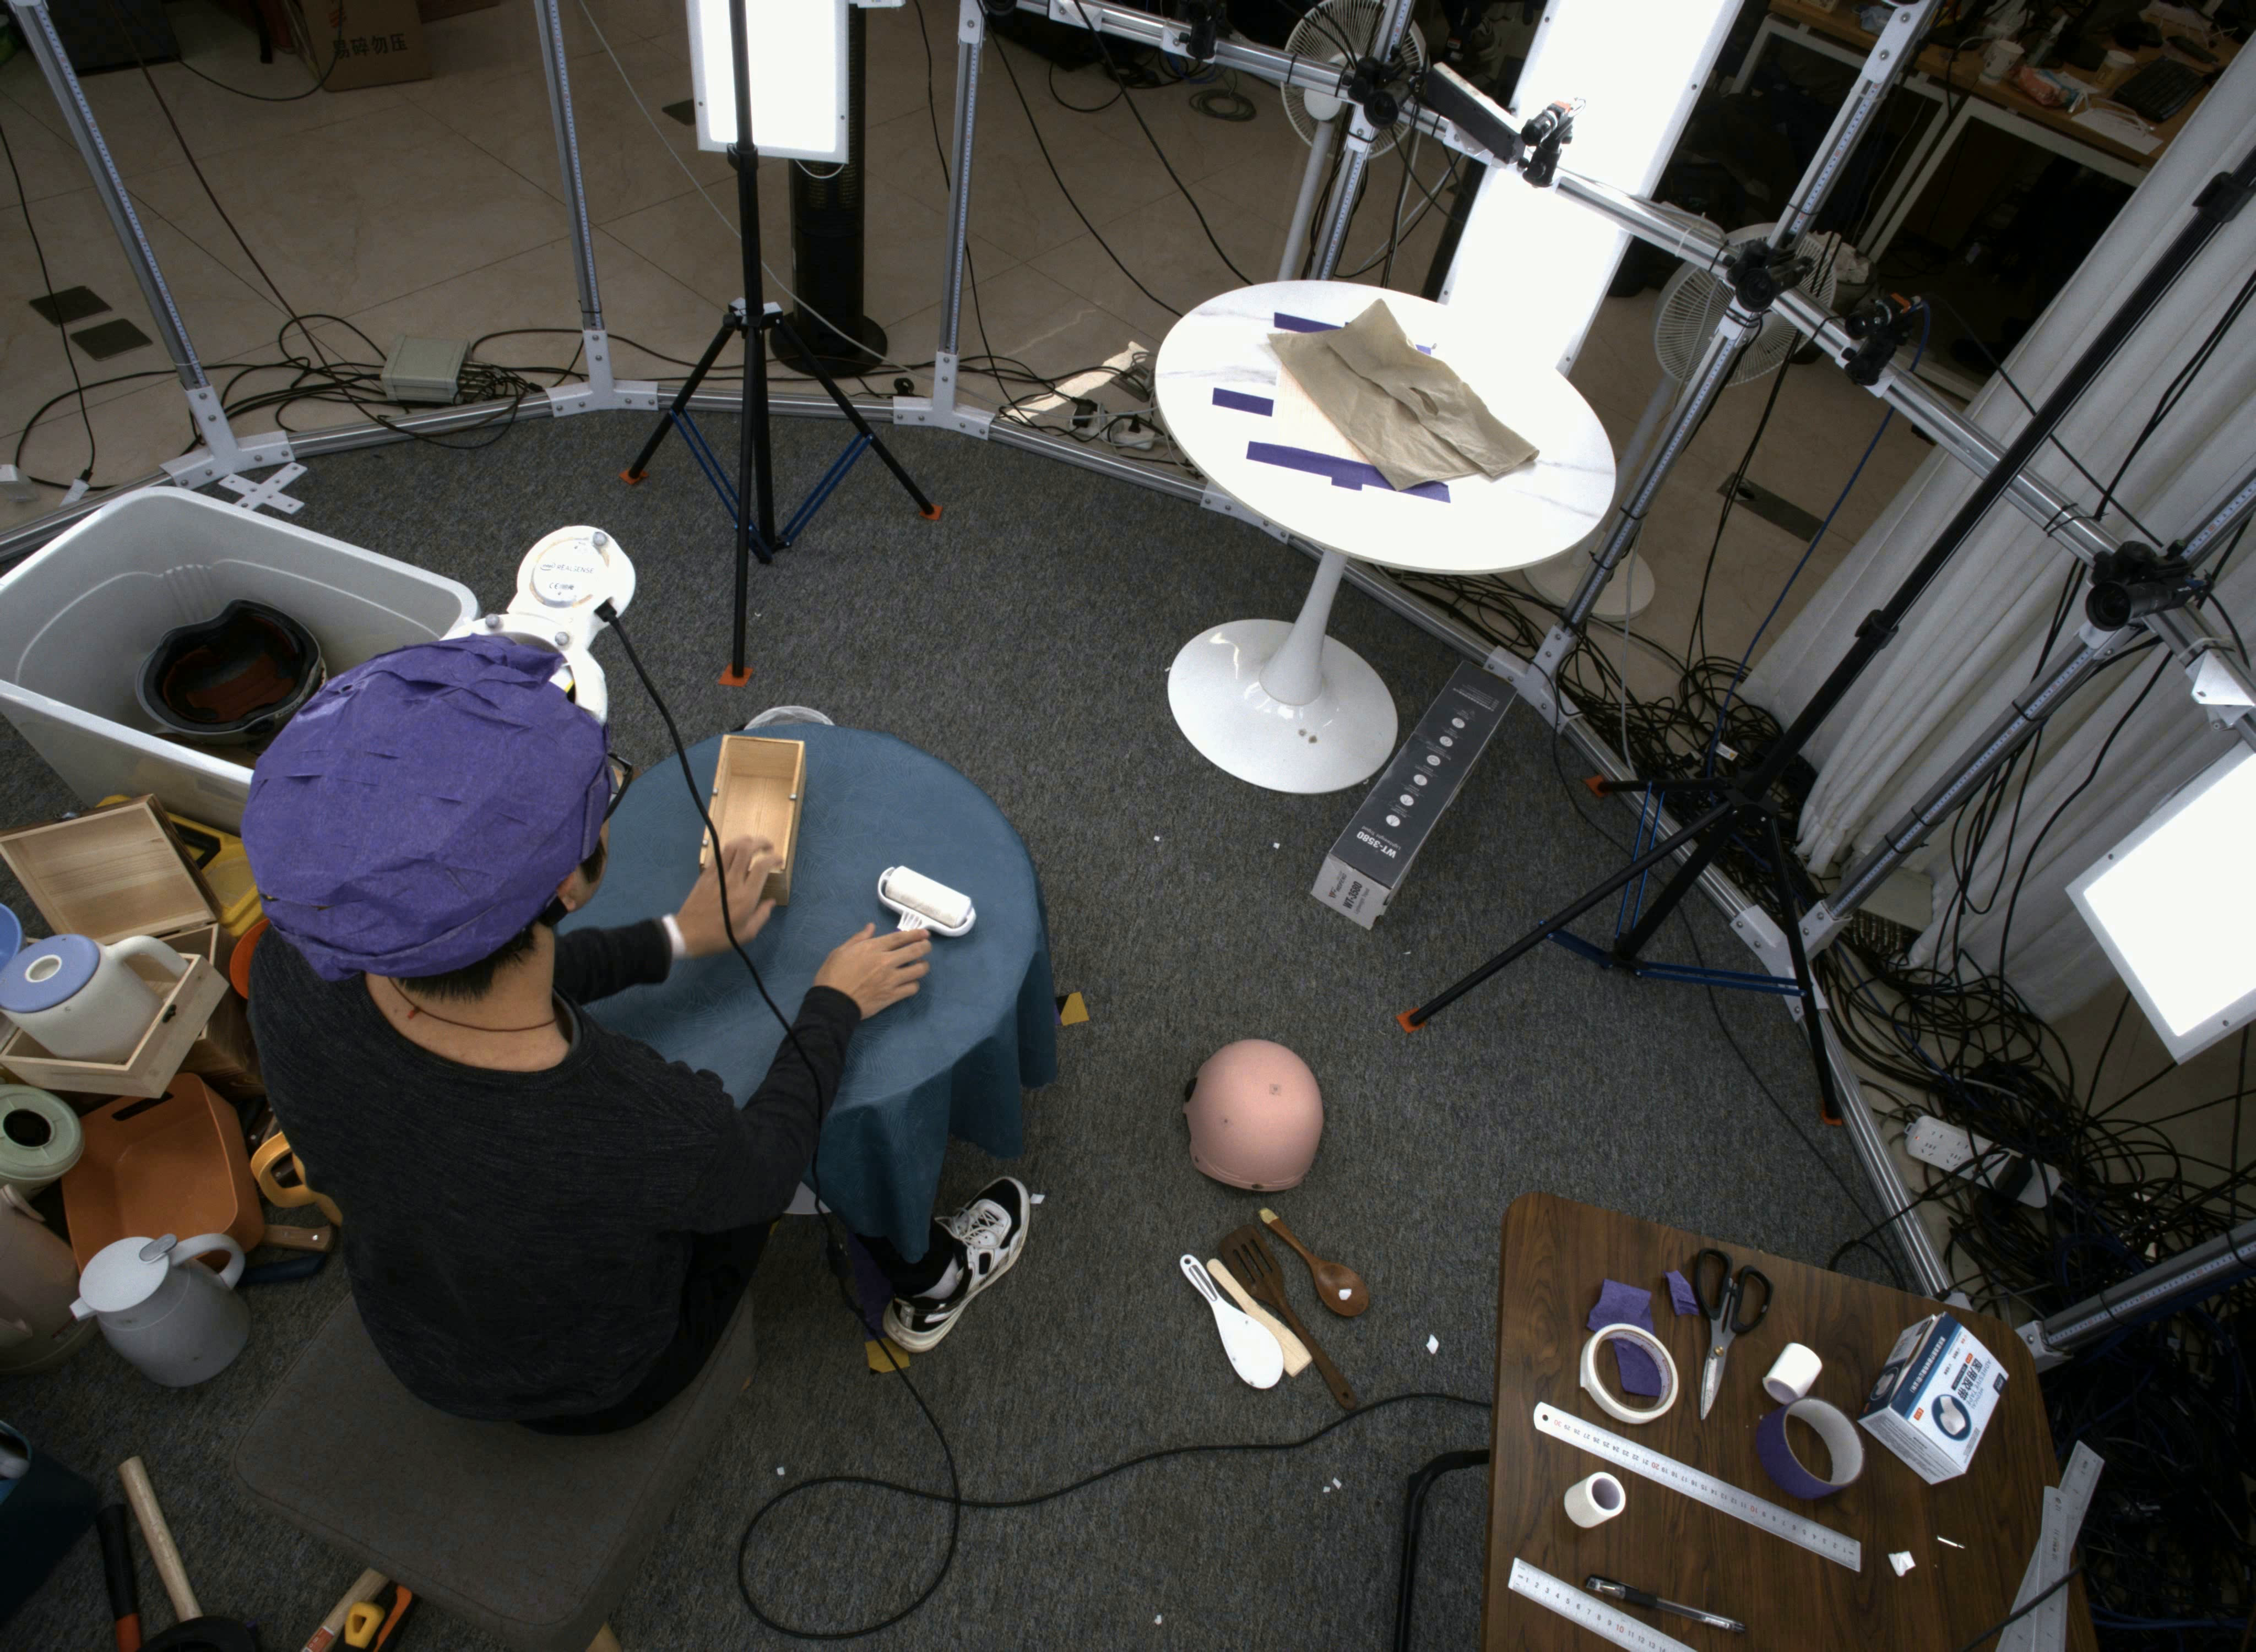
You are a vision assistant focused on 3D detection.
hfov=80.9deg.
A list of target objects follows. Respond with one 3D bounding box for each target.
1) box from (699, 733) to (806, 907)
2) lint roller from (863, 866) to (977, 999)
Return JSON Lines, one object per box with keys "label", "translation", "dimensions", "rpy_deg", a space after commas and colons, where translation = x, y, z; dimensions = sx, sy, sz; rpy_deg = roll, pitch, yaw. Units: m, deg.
{"label": "box", "translation": [-0.479, -0.011, 1.661], "dimensions": [0.107, 0.082, 0.207], "rpy_deg": [4, 54, -11]}
{"label": "lint roller", "translation": [-0.282, 0.134, 1.626], "dimensions": [0.131, 0.051, 0.180], "rpy_deg": [27, 50, 5]}
